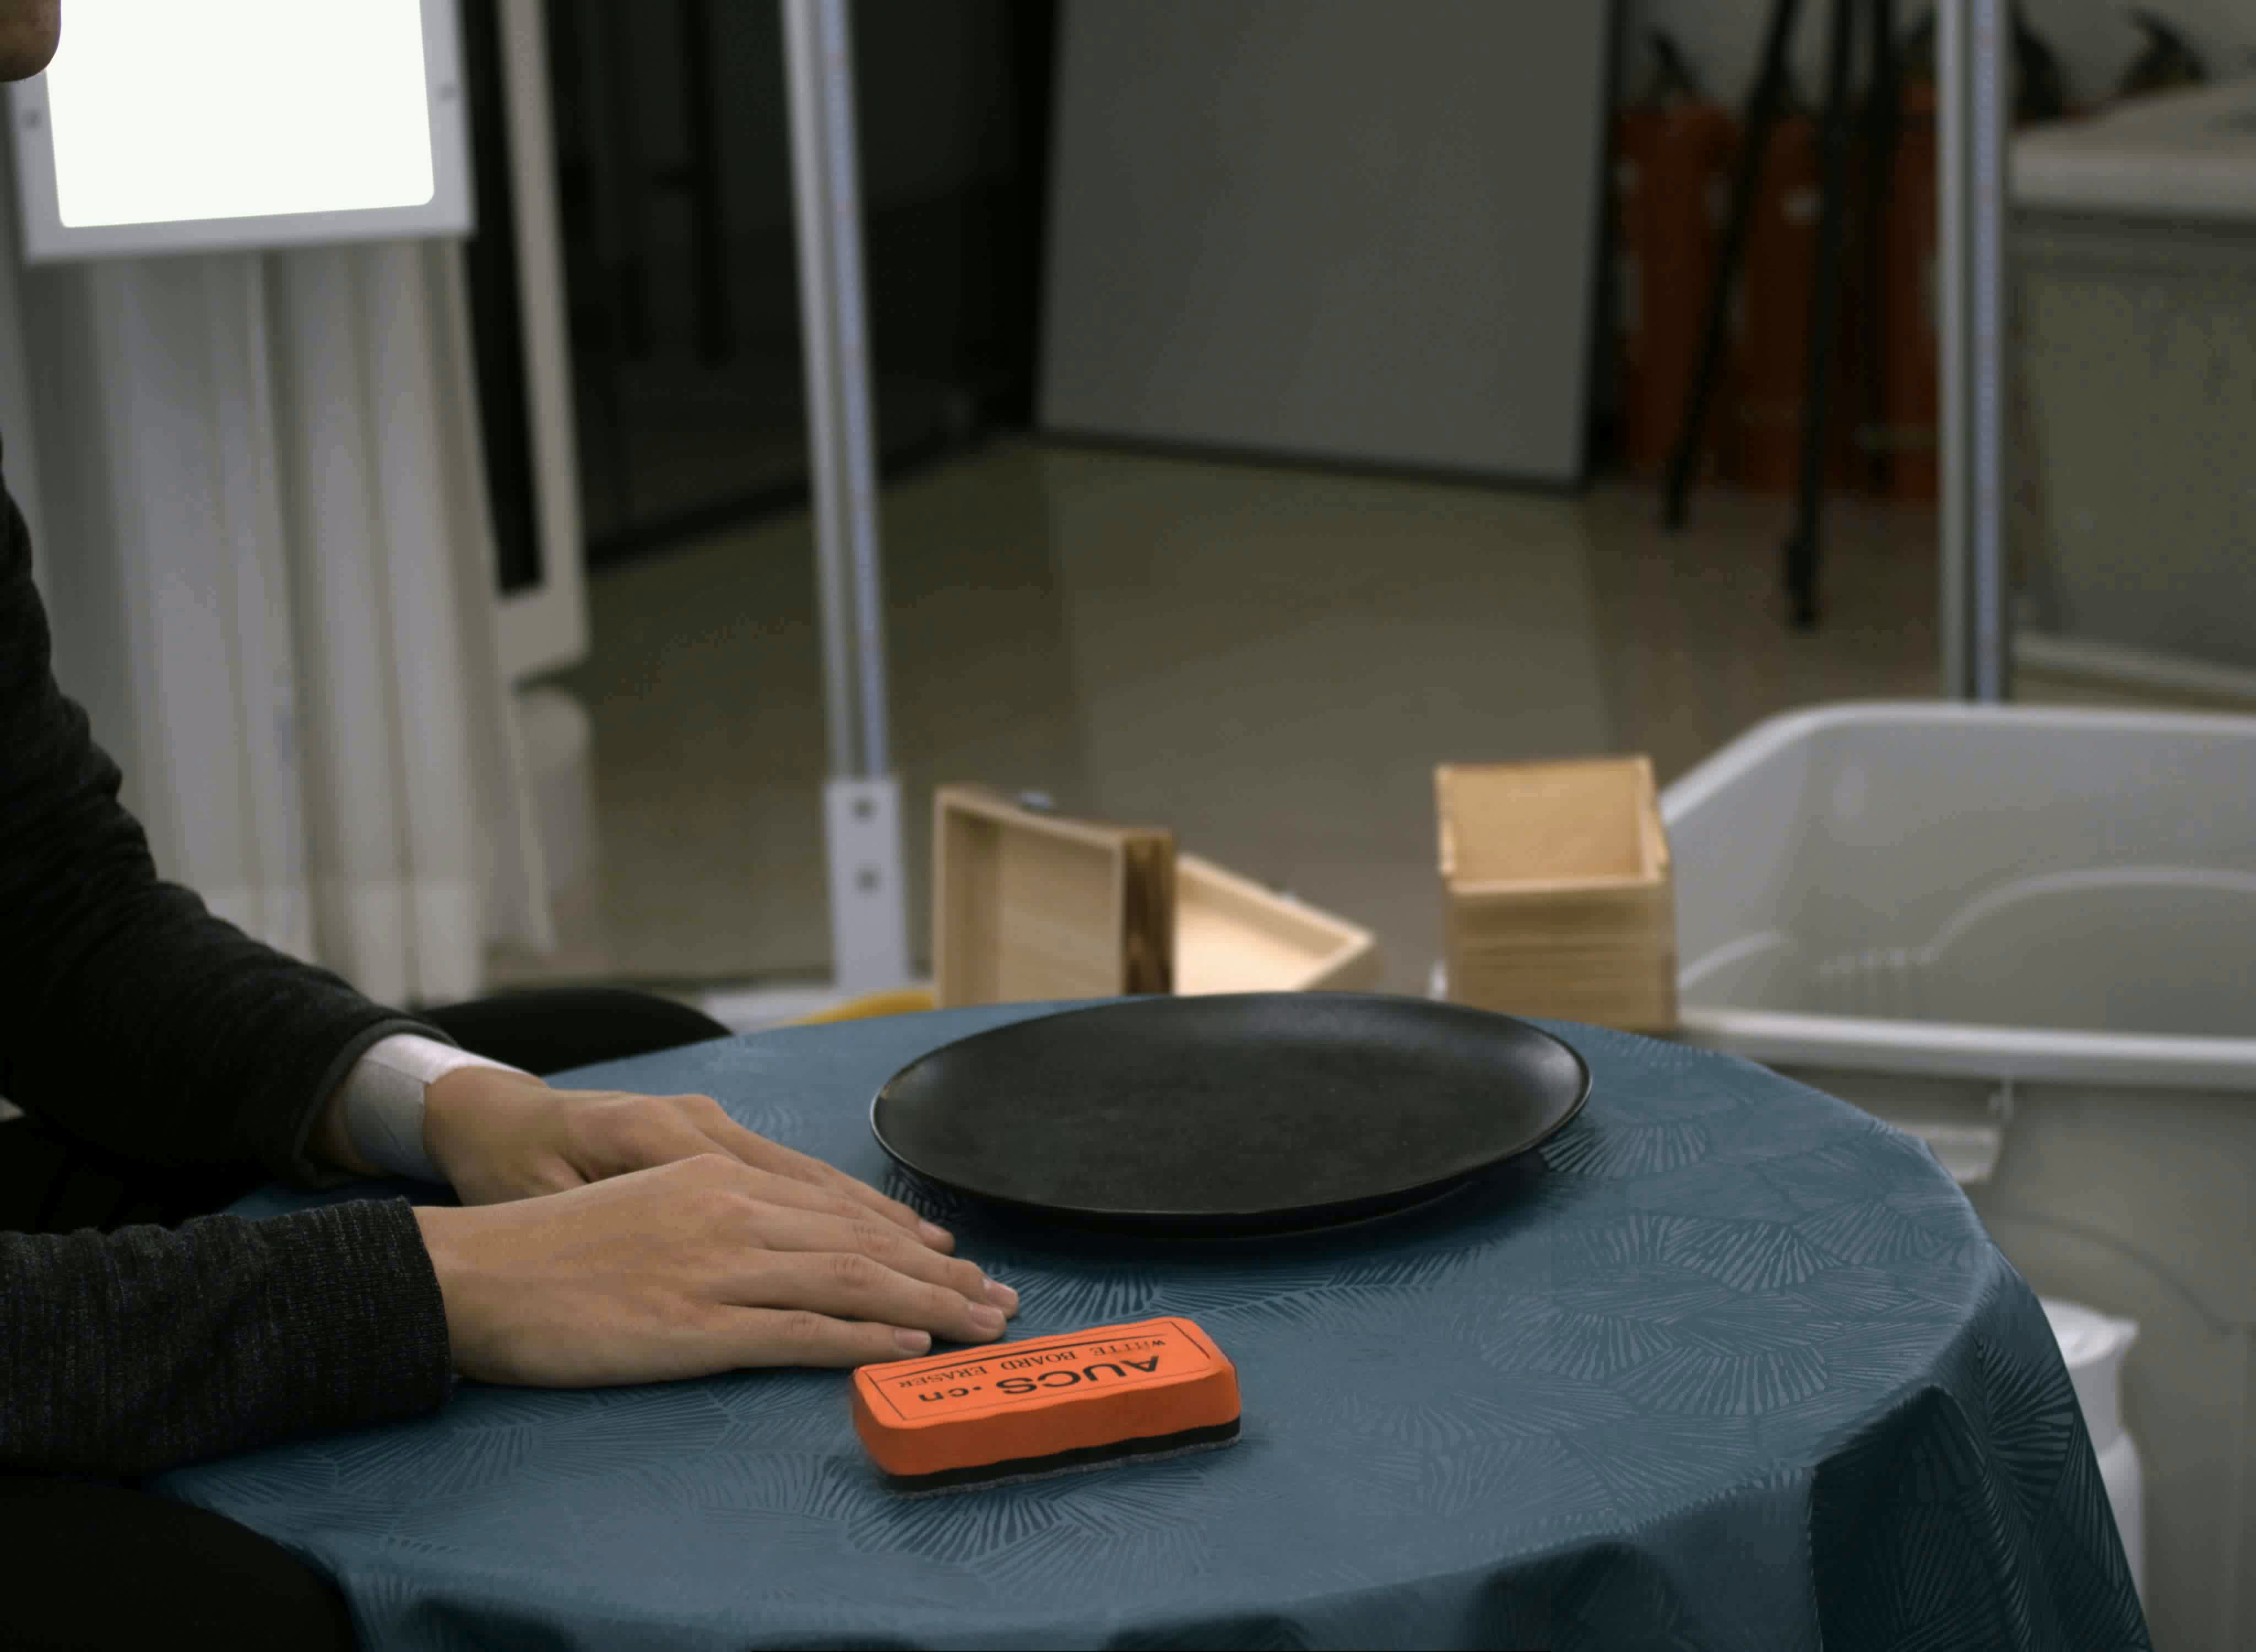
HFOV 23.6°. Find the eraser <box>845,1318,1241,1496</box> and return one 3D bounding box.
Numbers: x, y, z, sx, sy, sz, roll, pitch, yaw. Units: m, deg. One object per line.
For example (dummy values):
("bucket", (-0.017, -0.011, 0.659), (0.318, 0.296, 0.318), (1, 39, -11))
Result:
("eraser", (-0.024, 0.166, 1.545), (0.106, 0.023, 0.059), (-8, 12, -14))

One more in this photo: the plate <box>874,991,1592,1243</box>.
("plate", (0.036, 0.099, 1.799), (0.241, 0.024, 0.245), (-4, 14, 0))
